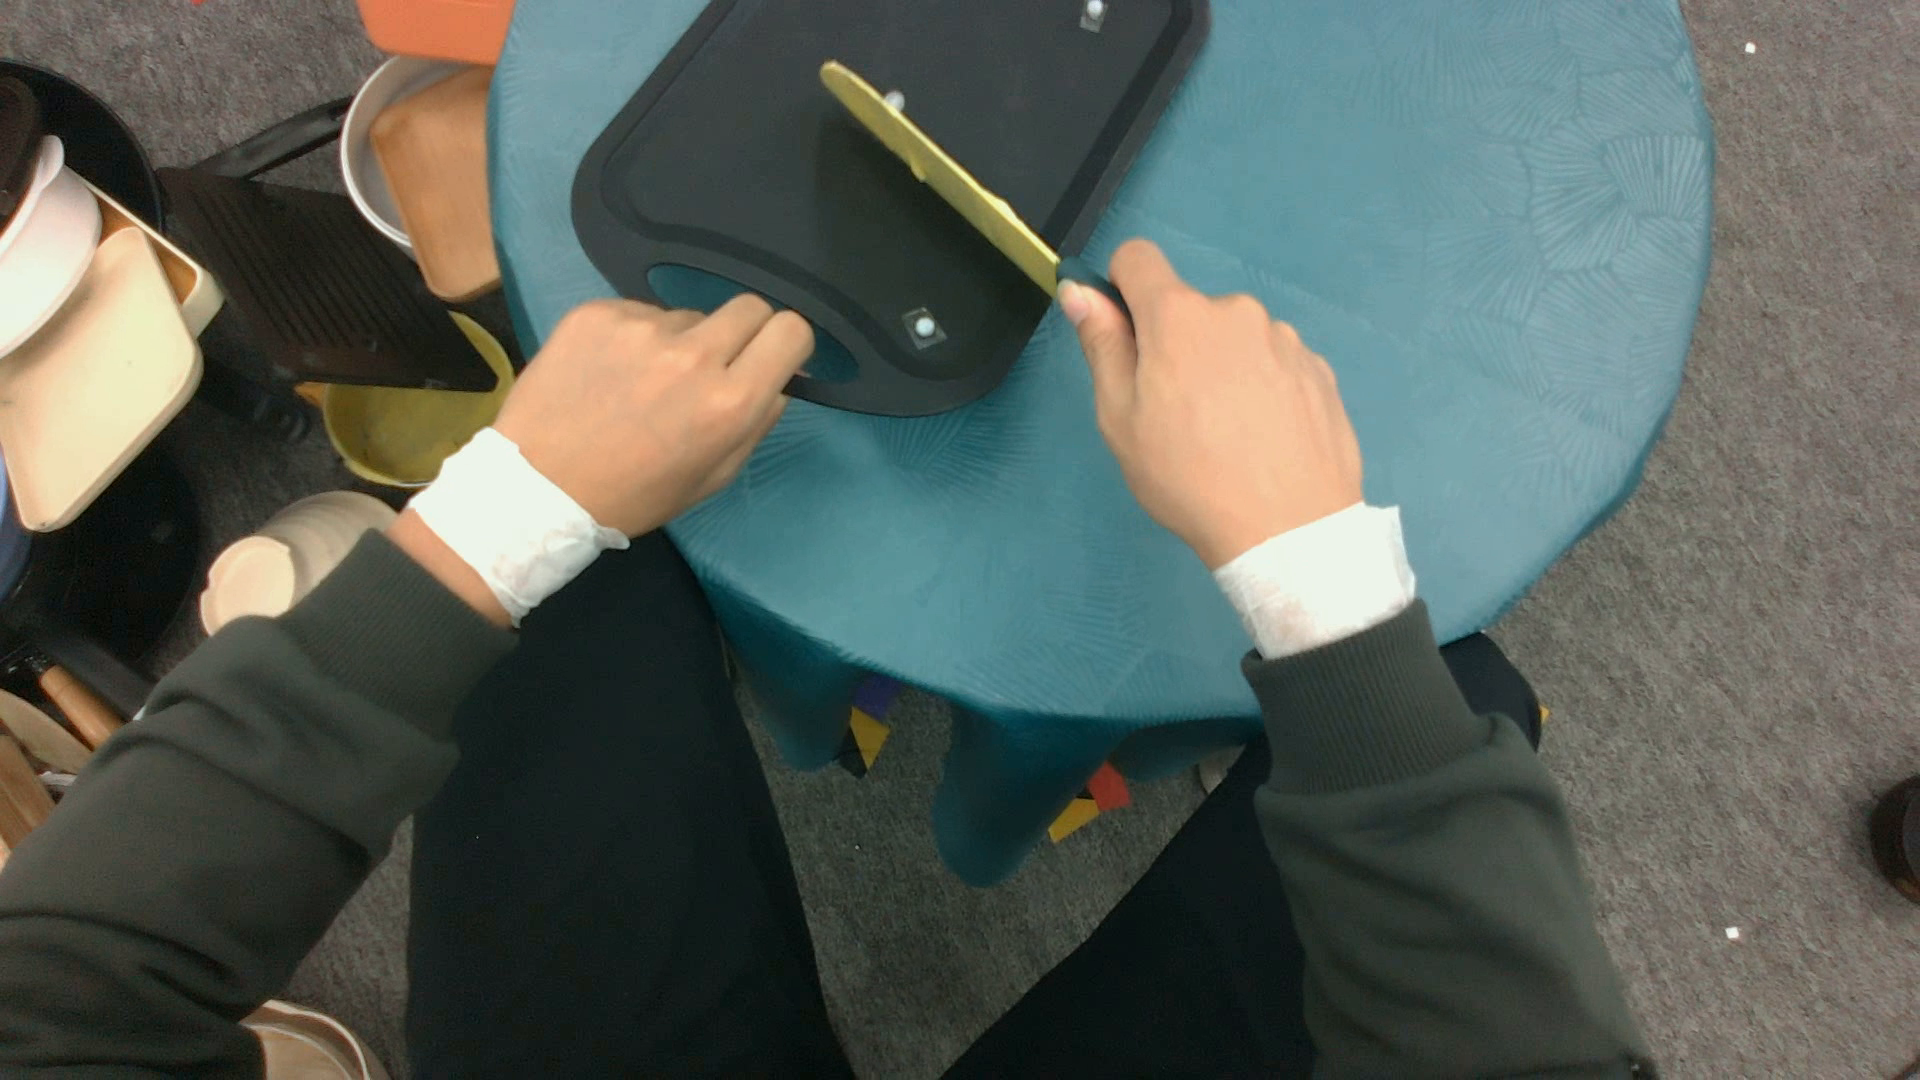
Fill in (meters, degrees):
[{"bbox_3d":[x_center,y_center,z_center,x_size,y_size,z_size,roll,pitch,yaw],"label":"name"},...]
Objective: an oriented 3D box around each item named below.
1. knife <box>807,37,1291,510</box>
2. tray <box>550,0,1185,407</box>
[{"bbox_3d":[0.029,-0.117,0.573,0.027,0.081,0.290,-44,76,4],"label":"knife"},{"bbox_3d":[-0.035,-0.206,0.636,0.211,0.010,0.327,28,65,3],"label":"tray"}]
